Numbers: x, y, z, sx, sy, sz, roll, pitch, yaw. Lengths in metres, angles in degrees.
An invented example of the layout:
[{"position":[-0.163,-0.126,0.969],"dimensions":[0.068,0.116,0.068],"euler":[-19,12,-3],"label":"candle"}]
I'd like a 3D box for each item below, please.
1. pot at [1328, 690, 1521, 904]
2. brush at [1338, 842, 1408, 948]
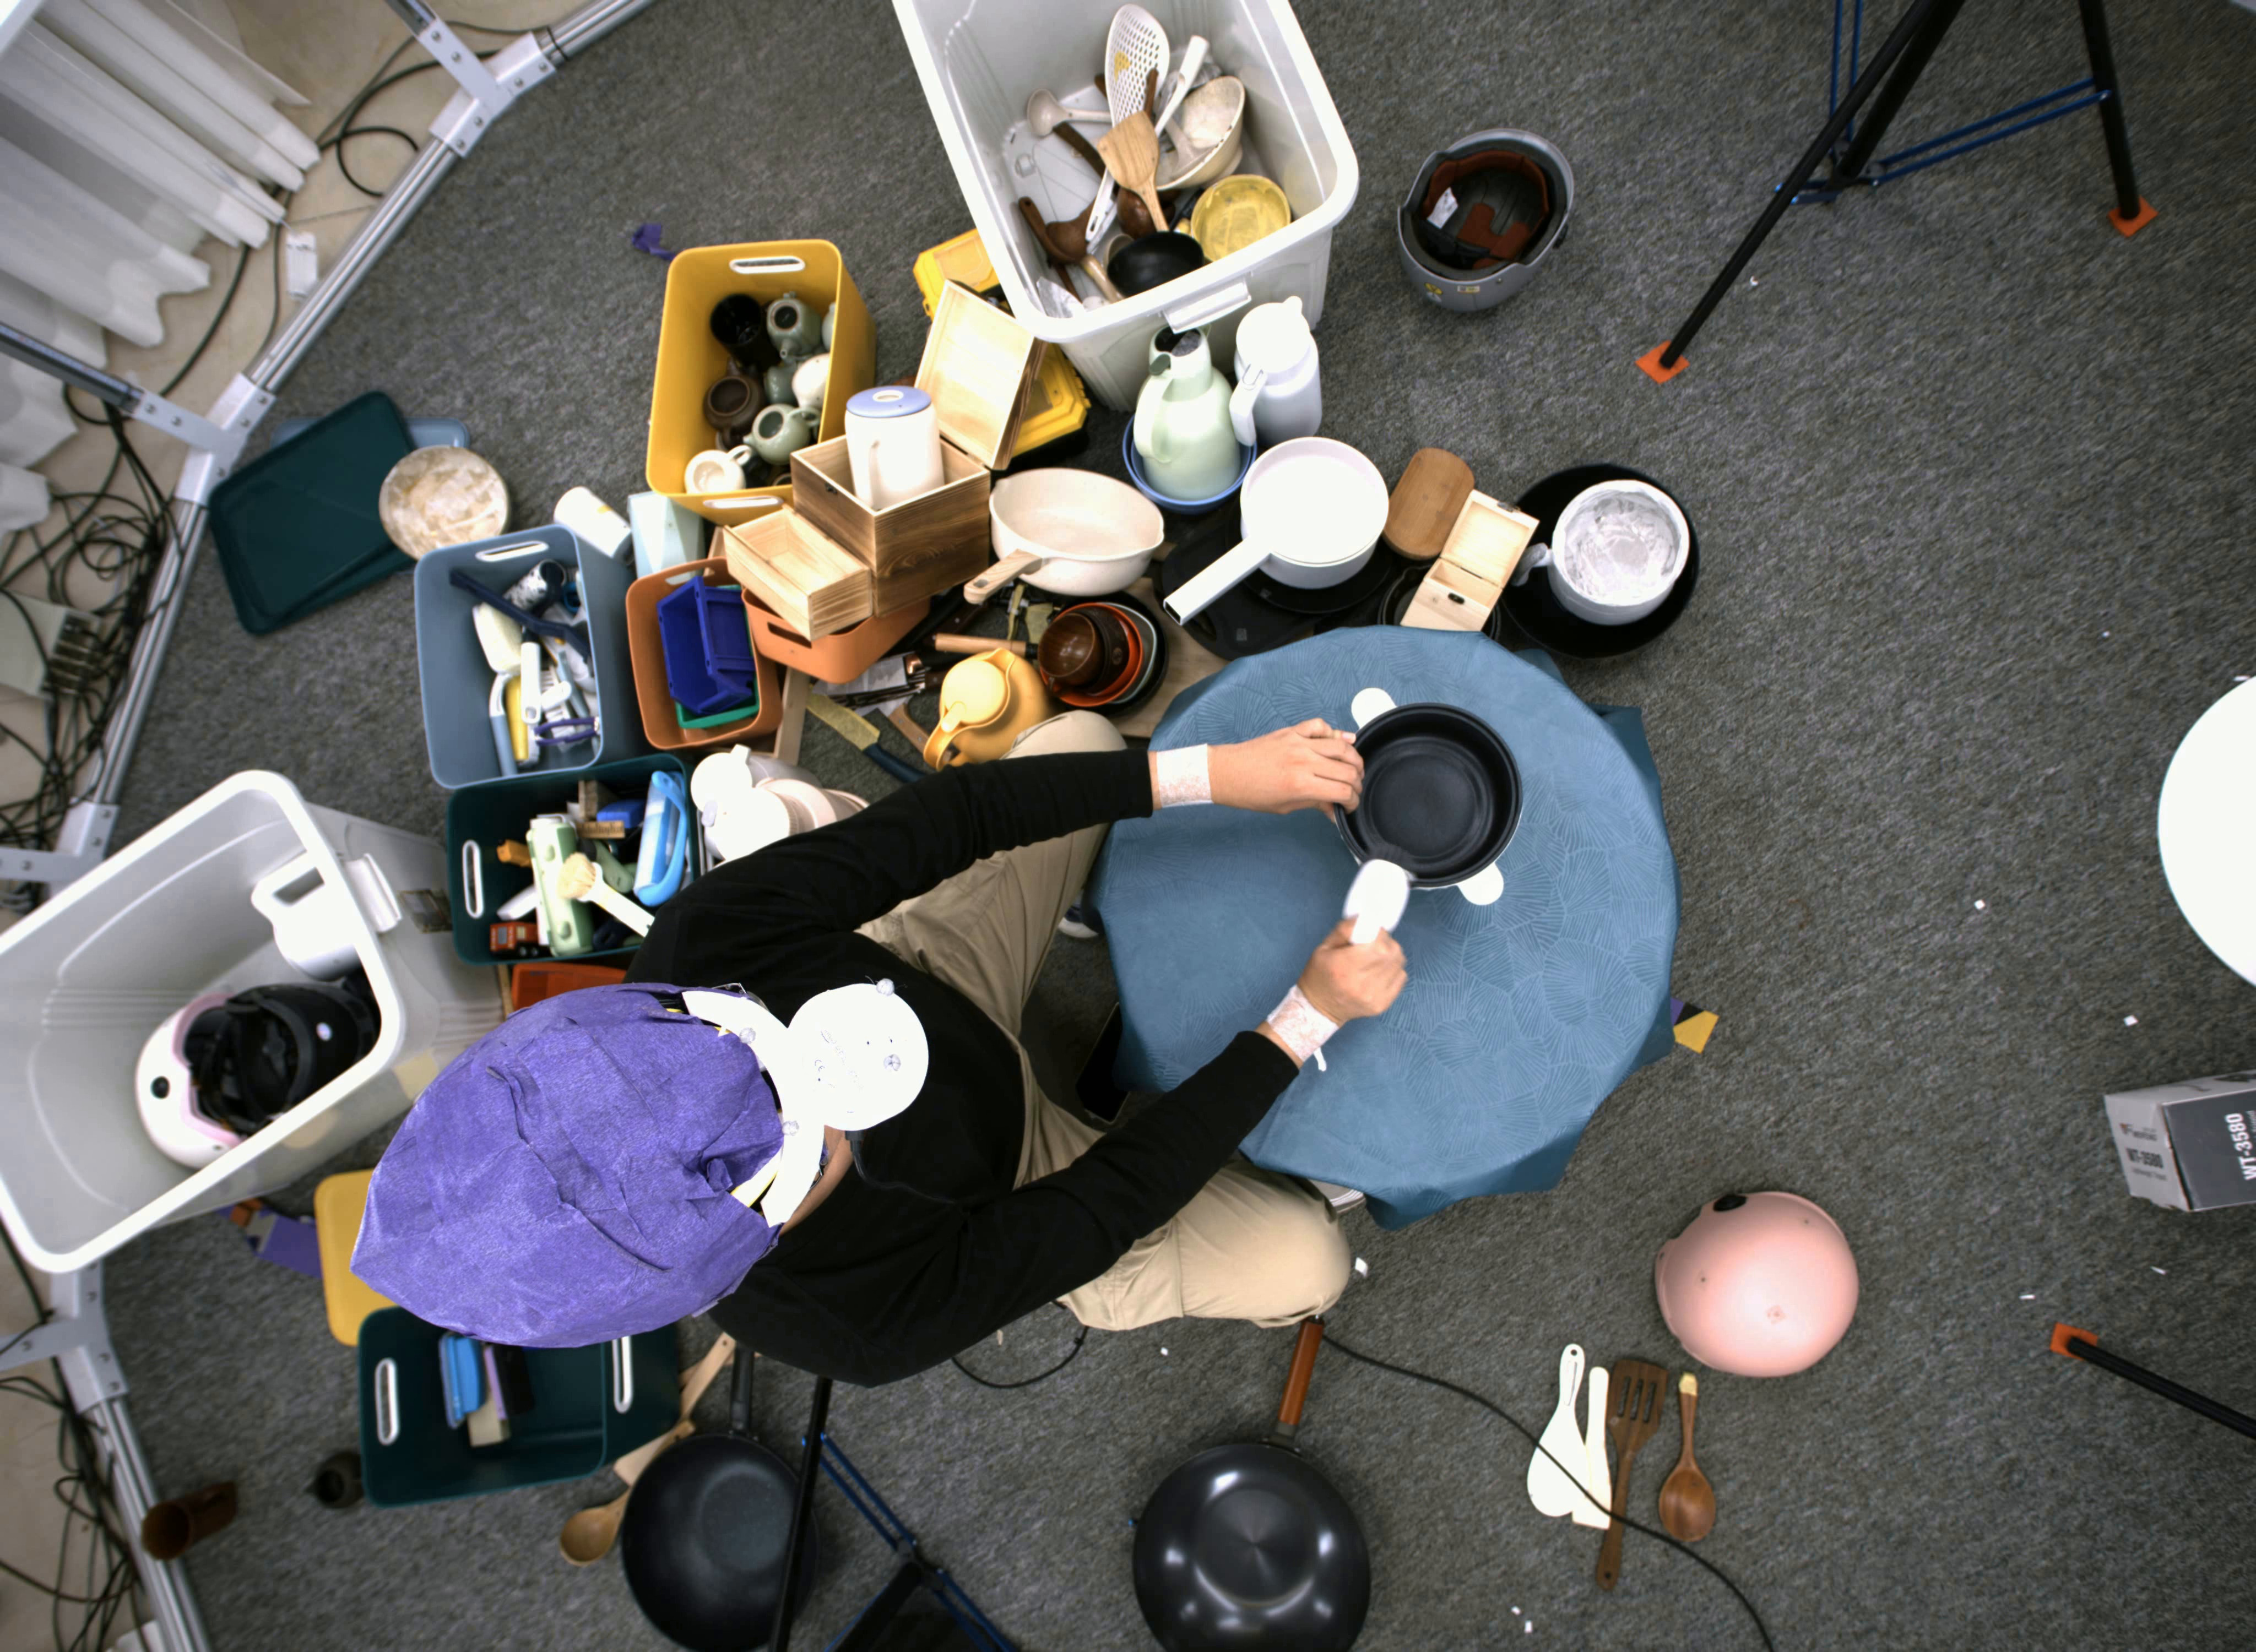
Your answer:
[{"position":[0.301,-0.029,1.390],"dimensions":[0.192,0.142,0.239],"euler":[-33,82,9],"label":"pot"},{"position":[0.229,0.072,1.316],"dimensions":[0.050,0.070,0.102],"euler":[21,133,7],"label":"brush"}]
